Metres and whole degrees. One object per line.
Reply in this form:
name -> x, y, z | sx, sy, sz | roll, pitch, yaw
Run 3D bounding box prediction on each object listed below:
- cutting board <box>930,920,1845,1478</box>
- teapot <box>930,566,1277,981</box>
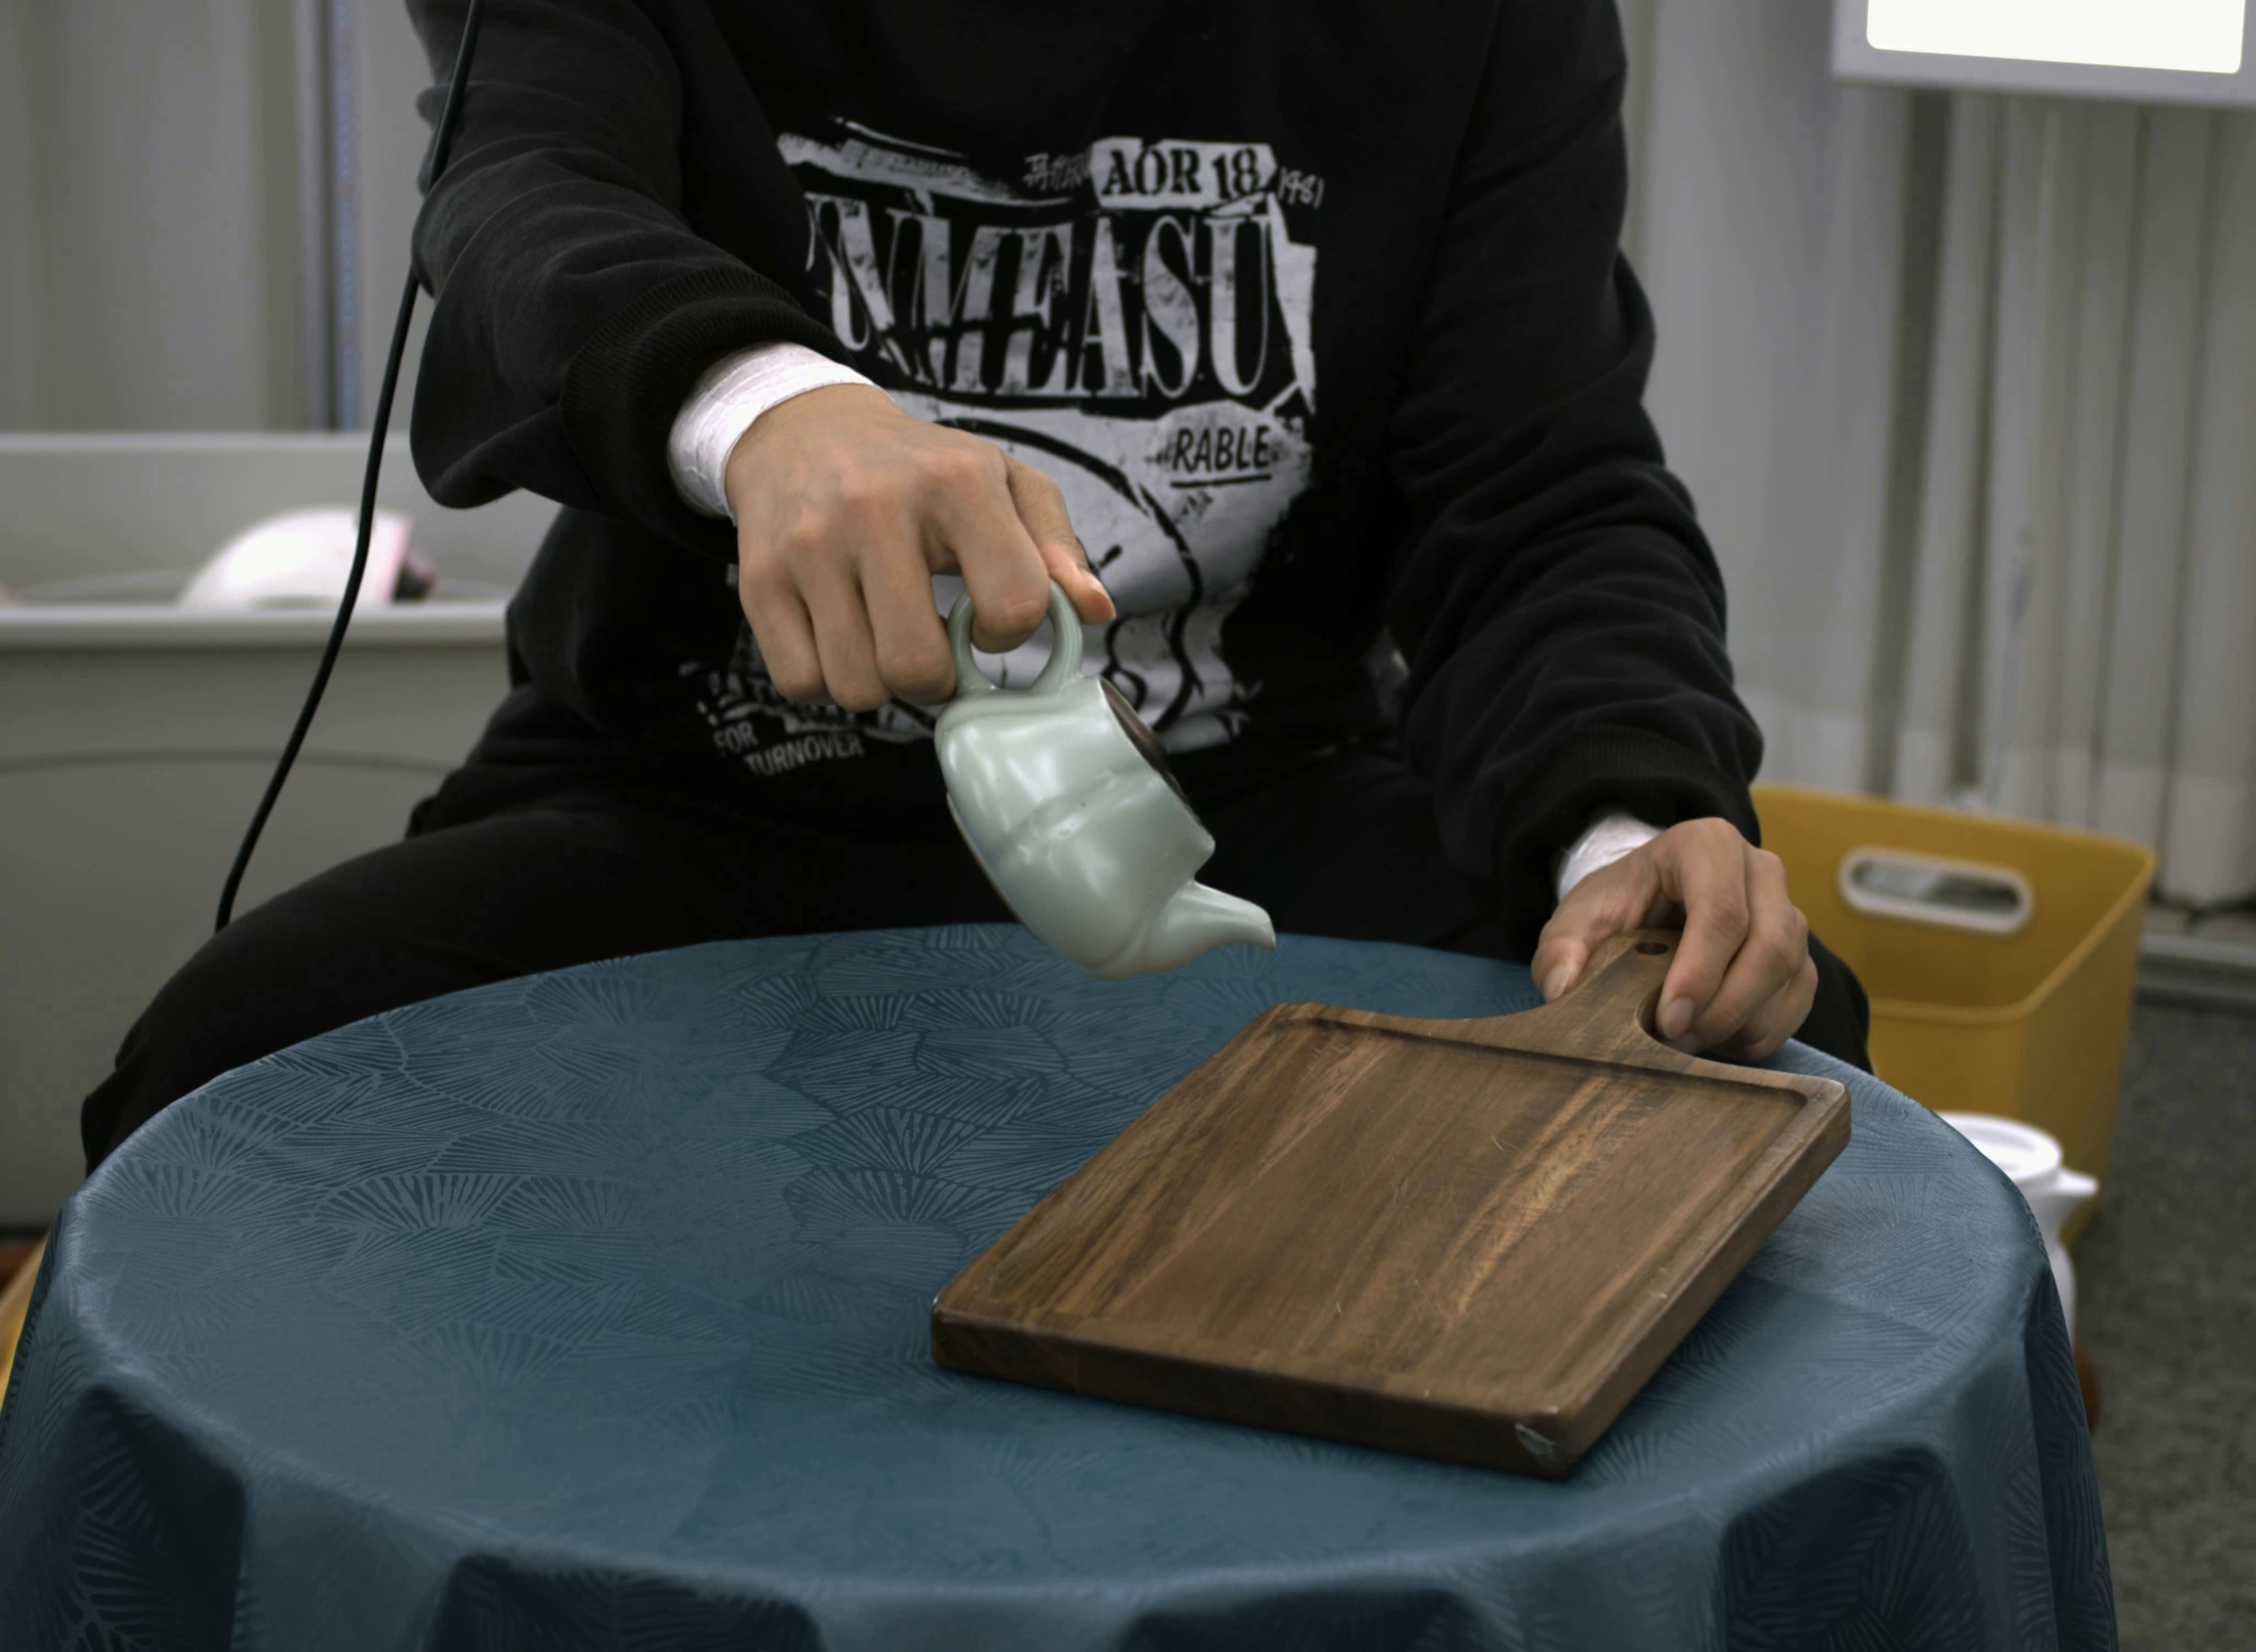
cutting board -> 0.102, 0.098, 1.581 | 0.199, 0.023, 0.352 | 8, 22, 23
teapot -> -0.017, -0.008, 1.520 | 0.061, 0.137, 0.096 | -33, 3, 8
